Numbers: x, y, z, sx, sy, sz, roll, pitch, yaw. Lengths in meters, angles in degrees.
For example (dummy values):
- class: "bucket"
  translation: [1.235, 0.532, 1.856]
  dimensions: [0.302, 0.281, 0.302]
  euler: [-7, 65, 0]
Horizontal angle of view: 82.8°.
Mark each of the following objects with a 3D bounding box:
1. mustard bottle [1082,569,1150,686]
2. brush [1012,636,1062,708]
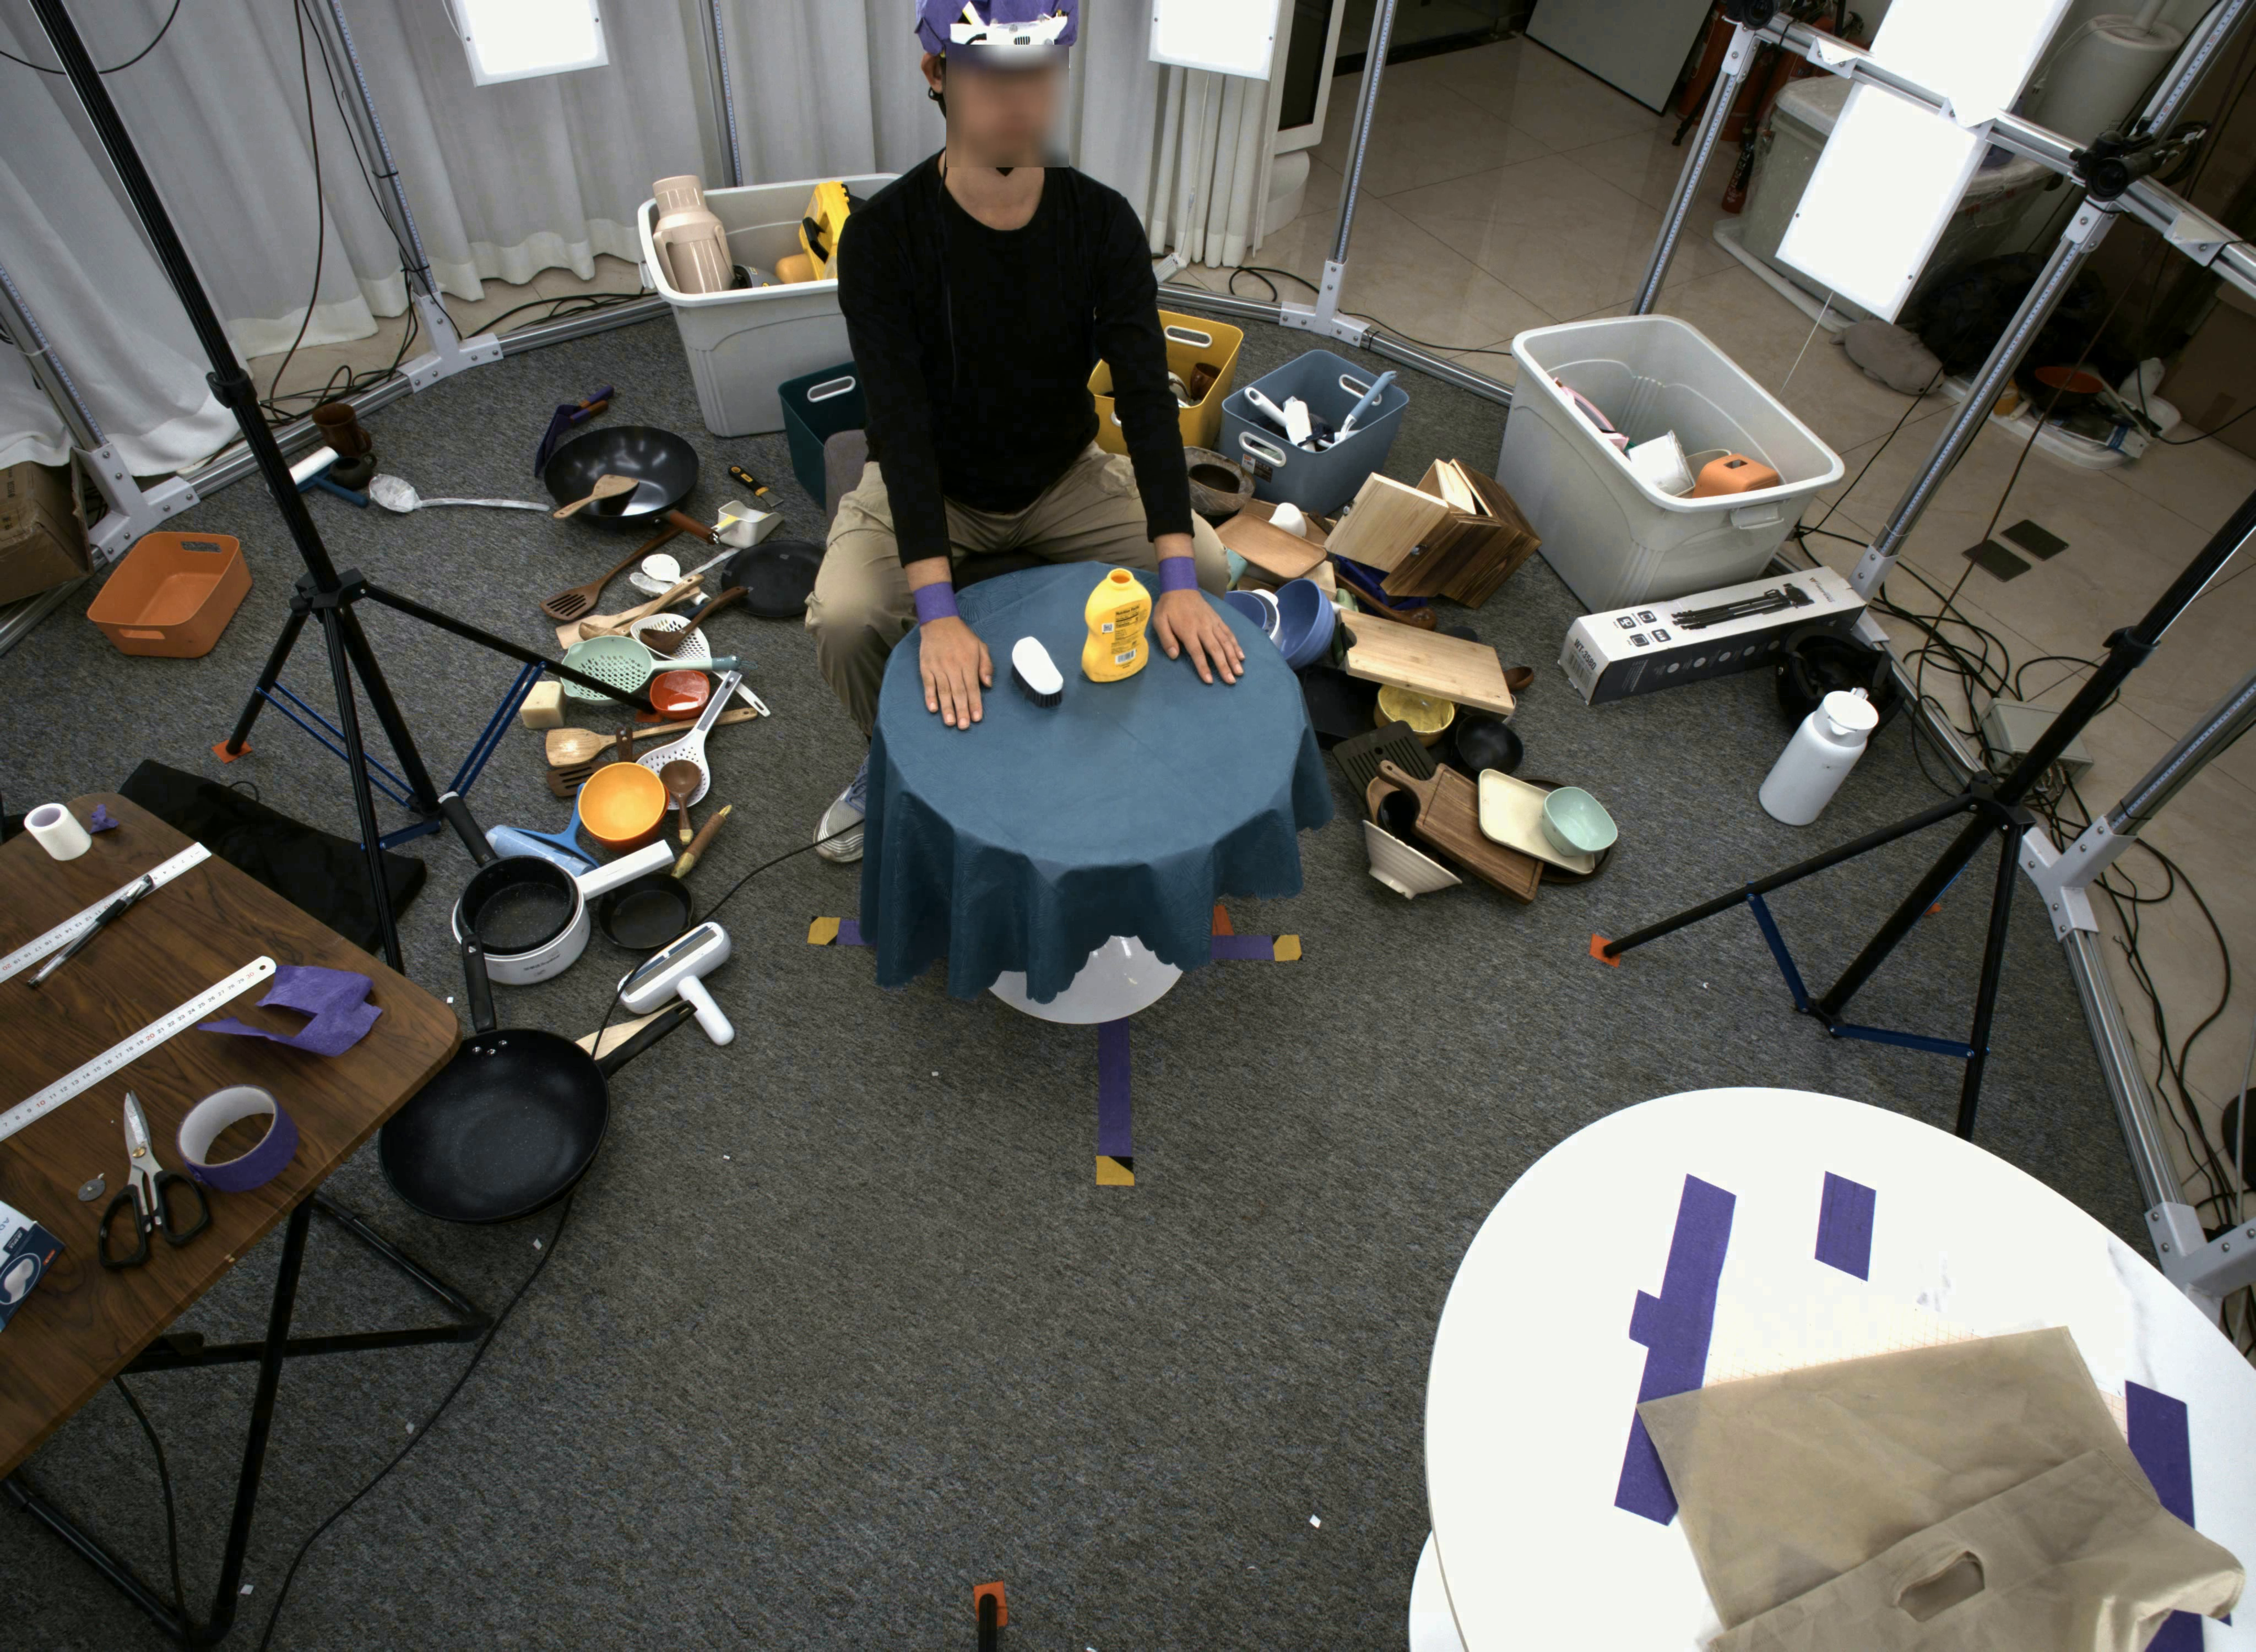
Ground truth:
- class: "mustard bottle"
  translation: [-0.016, -0.280, 1.801]
  dimensions: [0.098, 0.168, 0.060]
  euler: [-24, 51, -22]
- class: "brush"
  translation: [-0.128, -0.224, 1.804]
  dimensions: [0.050, 0.071, 0.101]
  euler: [-20, 55, -22]
